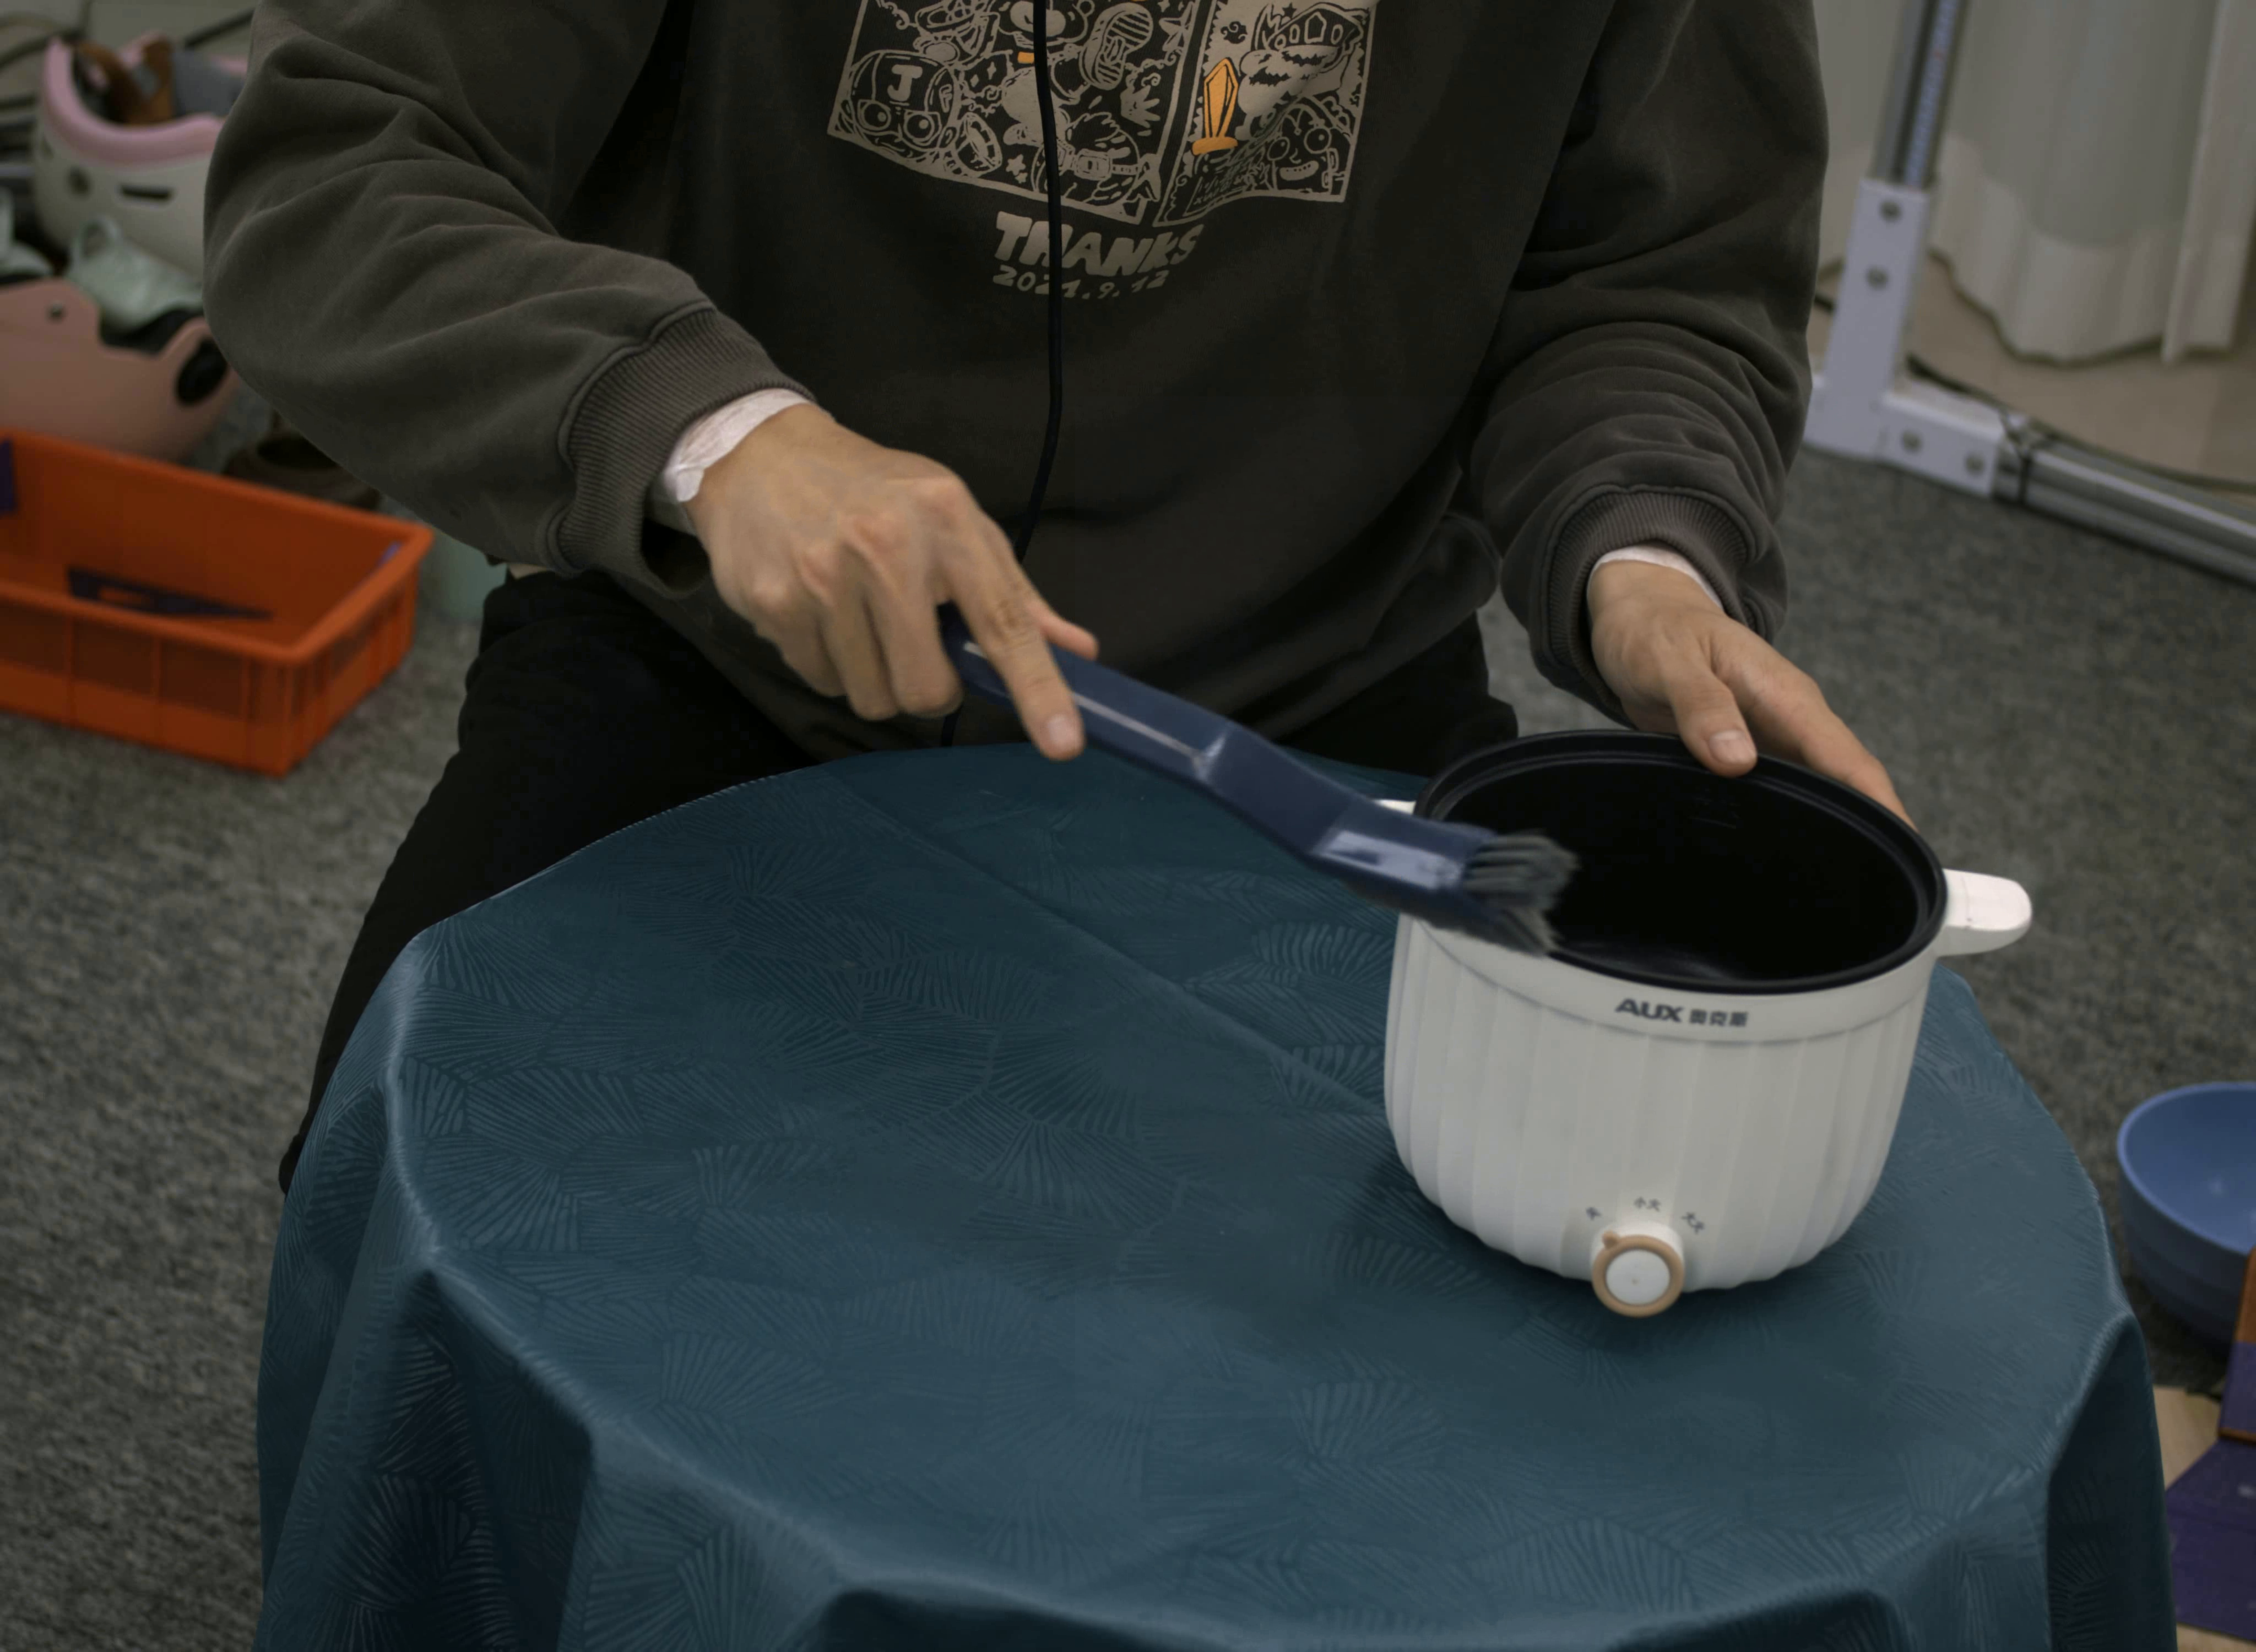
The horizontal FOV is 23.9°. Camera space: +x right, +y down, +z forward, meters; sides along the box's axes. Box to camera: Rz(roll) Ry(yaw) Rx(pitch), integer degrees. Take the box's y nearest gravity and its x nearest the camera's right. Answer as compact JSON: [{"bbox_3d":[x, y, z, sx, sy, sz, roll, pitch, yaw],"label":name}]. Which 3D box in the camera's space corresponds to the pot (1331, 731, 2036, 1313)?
[{"bbox_3d":[0.178,0.069,1.797,0.240,0.142,0.191,6,23,1],"label":"pot"}]

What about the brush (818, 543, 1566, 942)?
[{"bbox_3d":[0.018,-0.033,1.700,0.274,0.095,0.033,27,73,16],"label":"brush"}]
